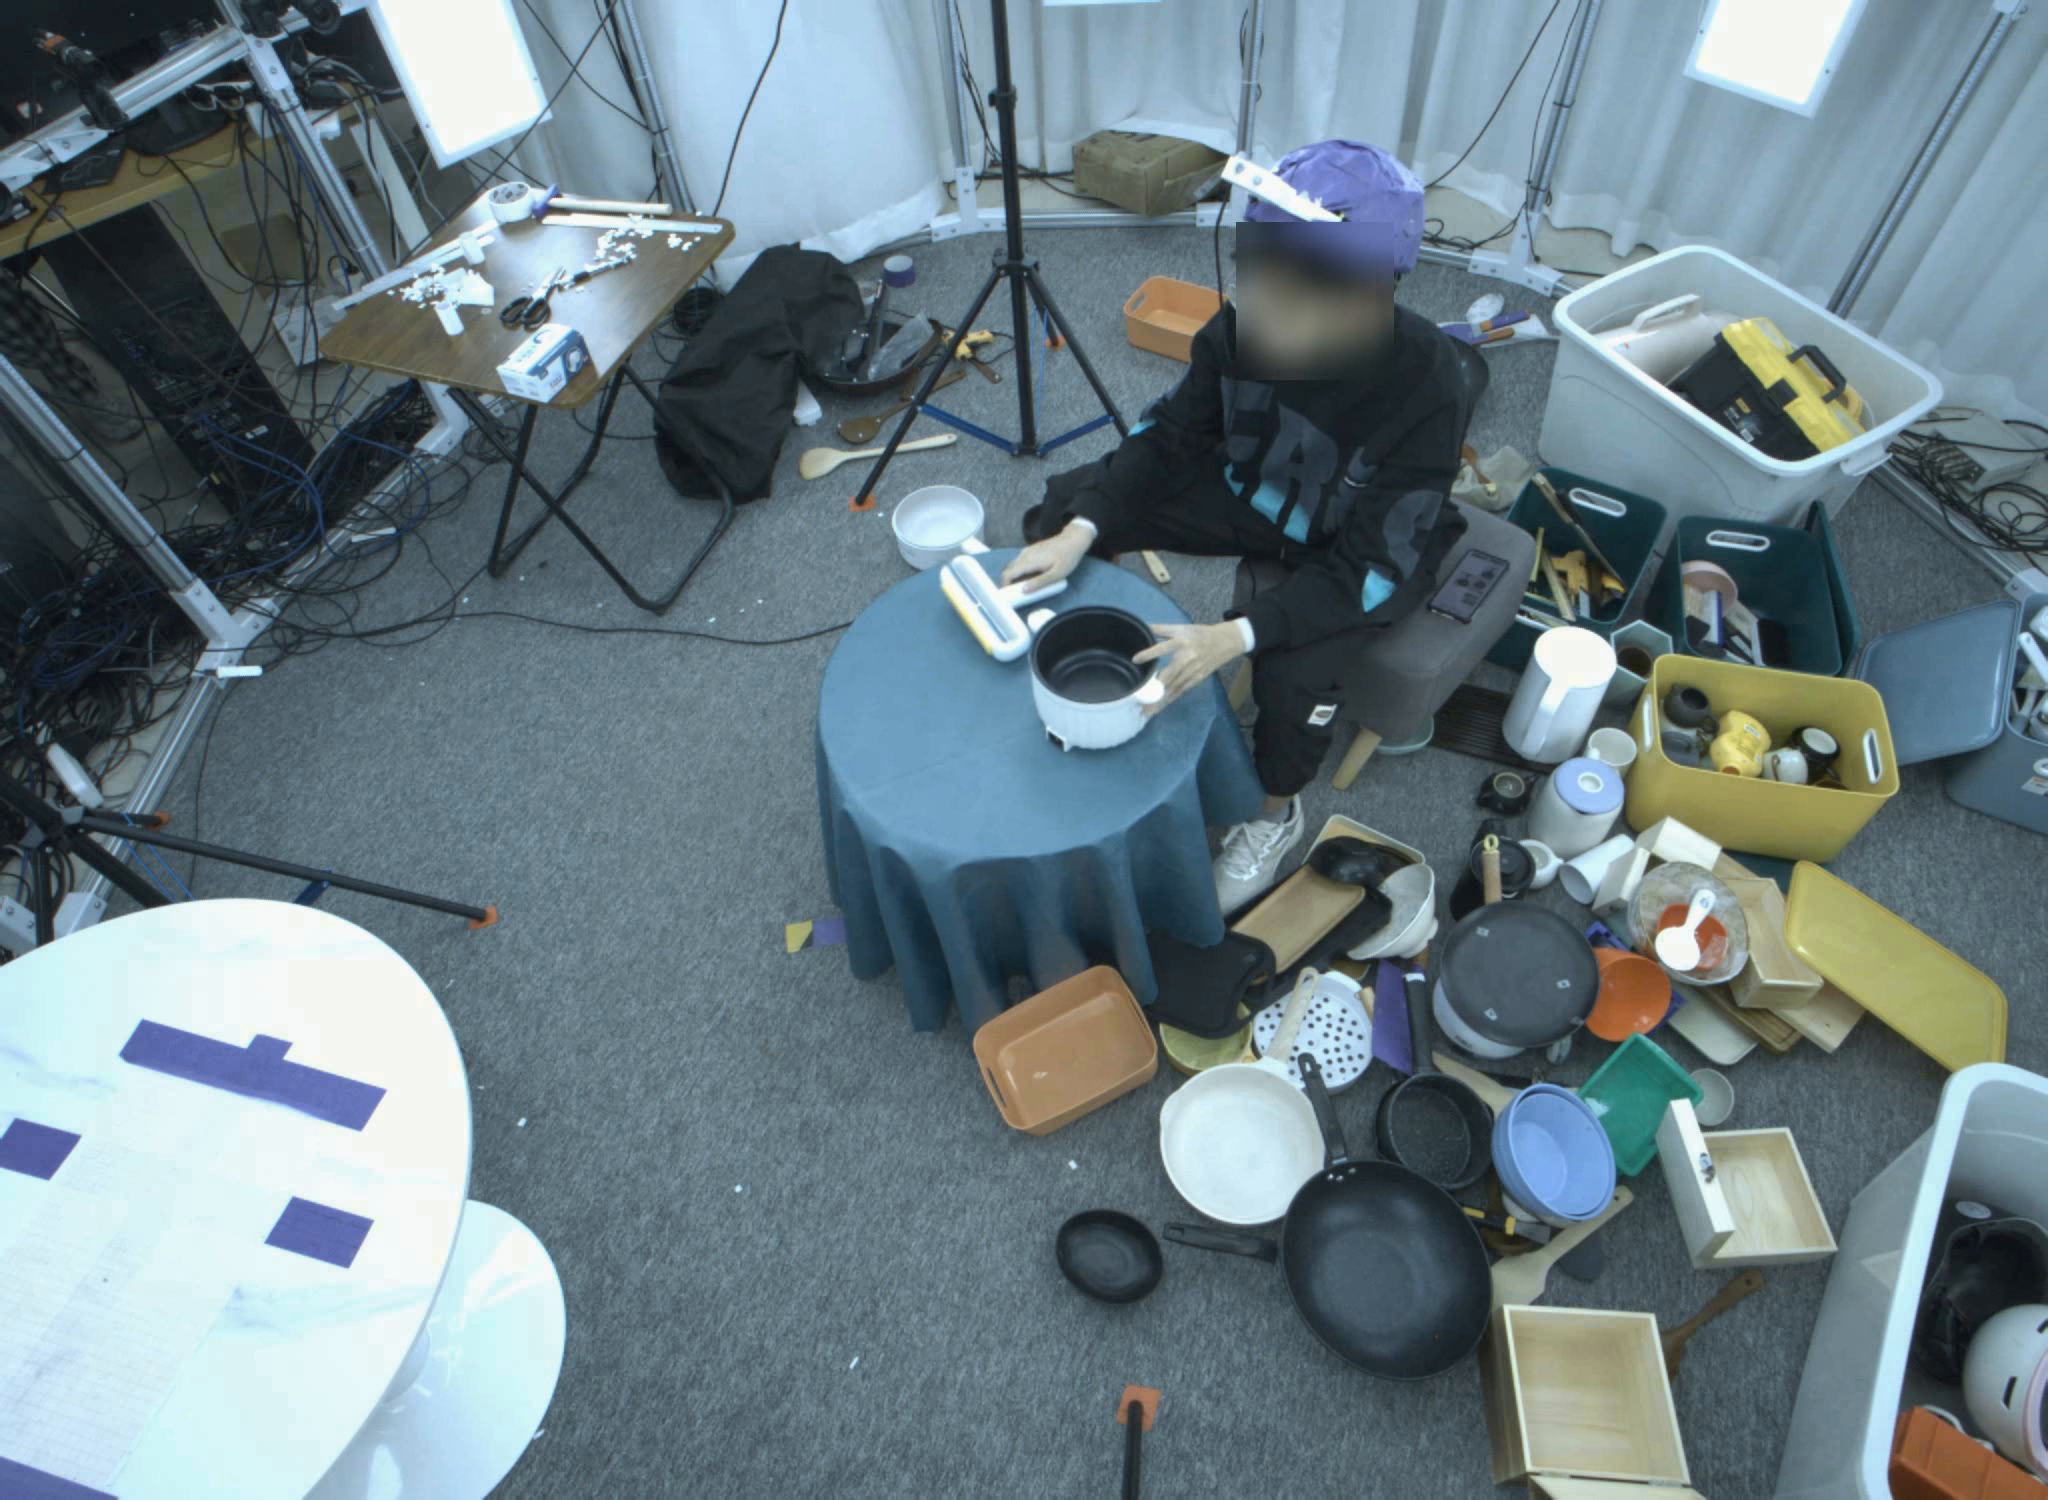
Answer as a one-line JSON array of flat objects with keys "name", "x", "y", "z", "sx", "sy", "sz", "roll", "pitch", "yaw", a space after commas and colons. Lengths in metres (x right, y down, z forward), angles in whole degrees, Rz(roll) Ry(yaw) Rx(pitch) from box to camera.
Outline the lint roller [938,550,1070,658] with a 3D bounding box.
[{"name": "lint roller", "x": -0.015, "y": -0.244, "z": 1.915, "sx": 0.194, "sy": 0.075, "sz": 0.190, "roll": -26, "pitch": 64, "yaw": -17}]

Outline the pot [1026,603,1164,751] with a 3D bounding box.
[{"name": "pot", "x": 0.104, "y": -0.102, "z": 1.766, "sx": 0.236, "sy": 0.144, "sz": 0.191, "roll": 36, "pitch": 66, "yaw": 23}]
